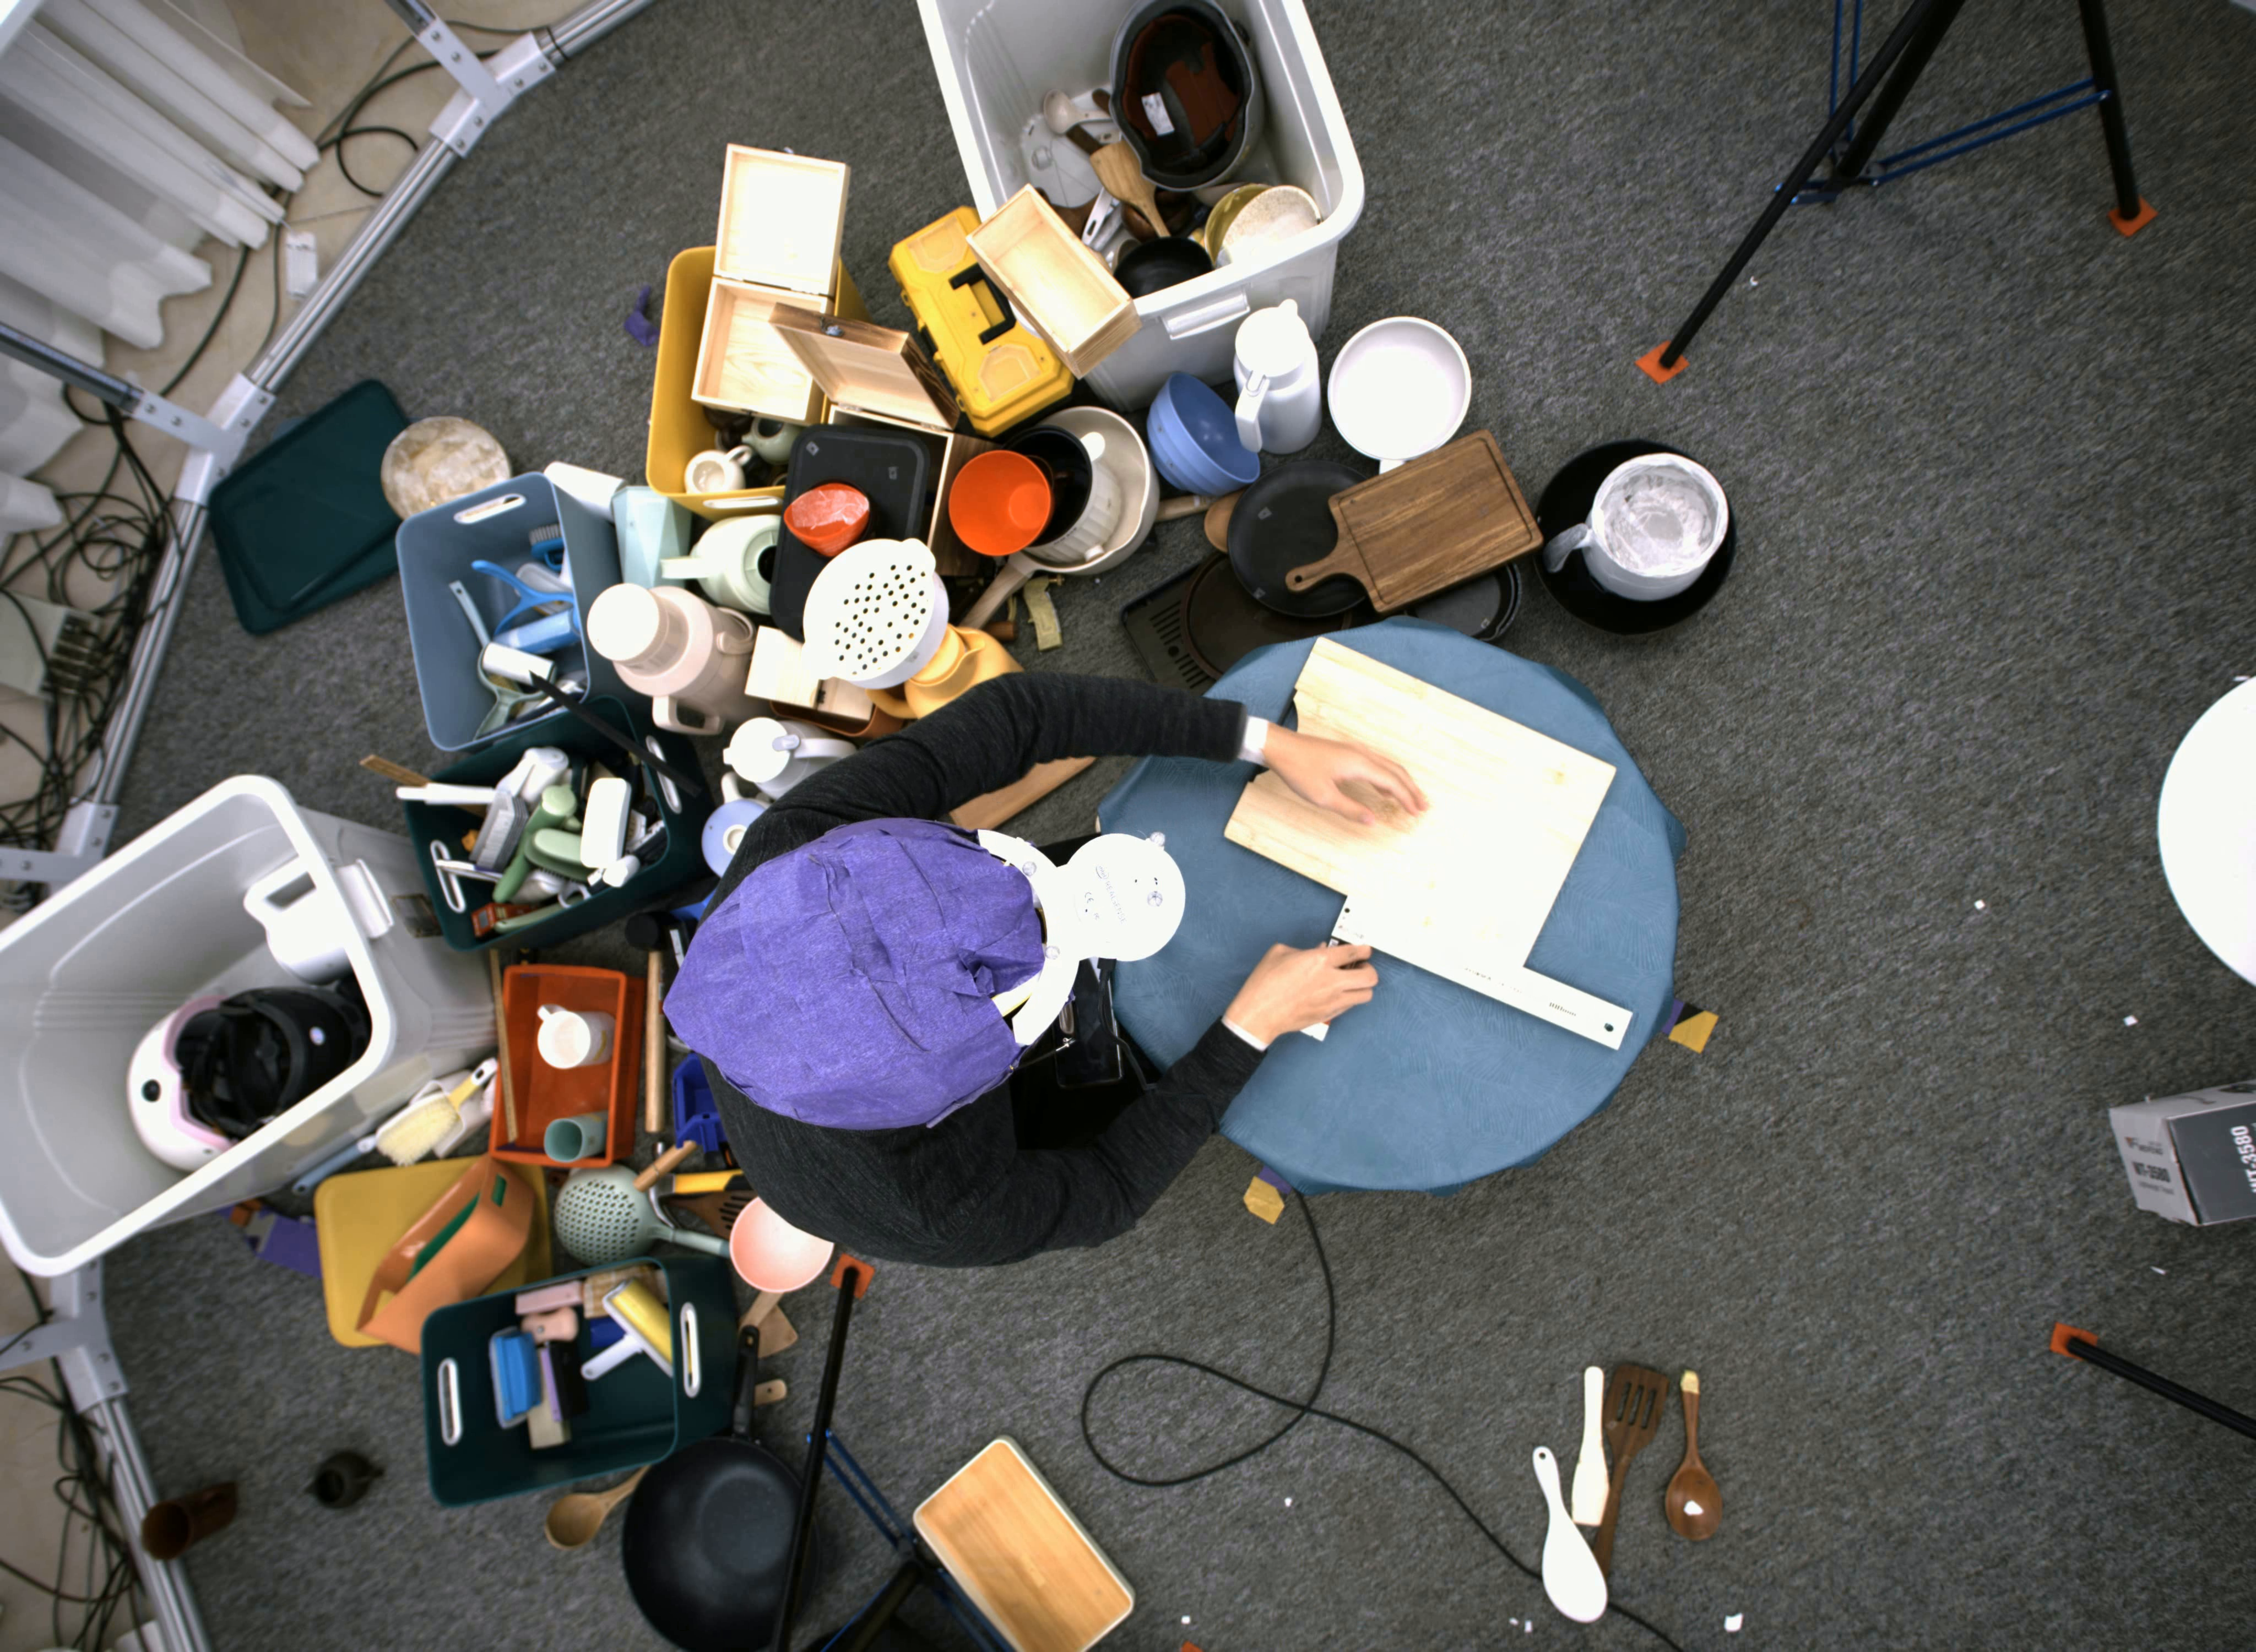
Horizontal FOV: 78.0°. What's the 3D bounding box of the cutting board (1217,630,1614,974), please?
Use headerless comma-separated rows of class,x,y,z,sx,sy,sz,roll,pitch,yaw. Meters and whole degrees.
cutting board,0.299,-0.029,1.452,0.348,0.023,0.251,25,91,11

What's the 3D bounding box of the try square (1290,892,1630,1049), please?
try square,0.338,0.195,1.420,0.313,0.016,0.152,23,90,11
